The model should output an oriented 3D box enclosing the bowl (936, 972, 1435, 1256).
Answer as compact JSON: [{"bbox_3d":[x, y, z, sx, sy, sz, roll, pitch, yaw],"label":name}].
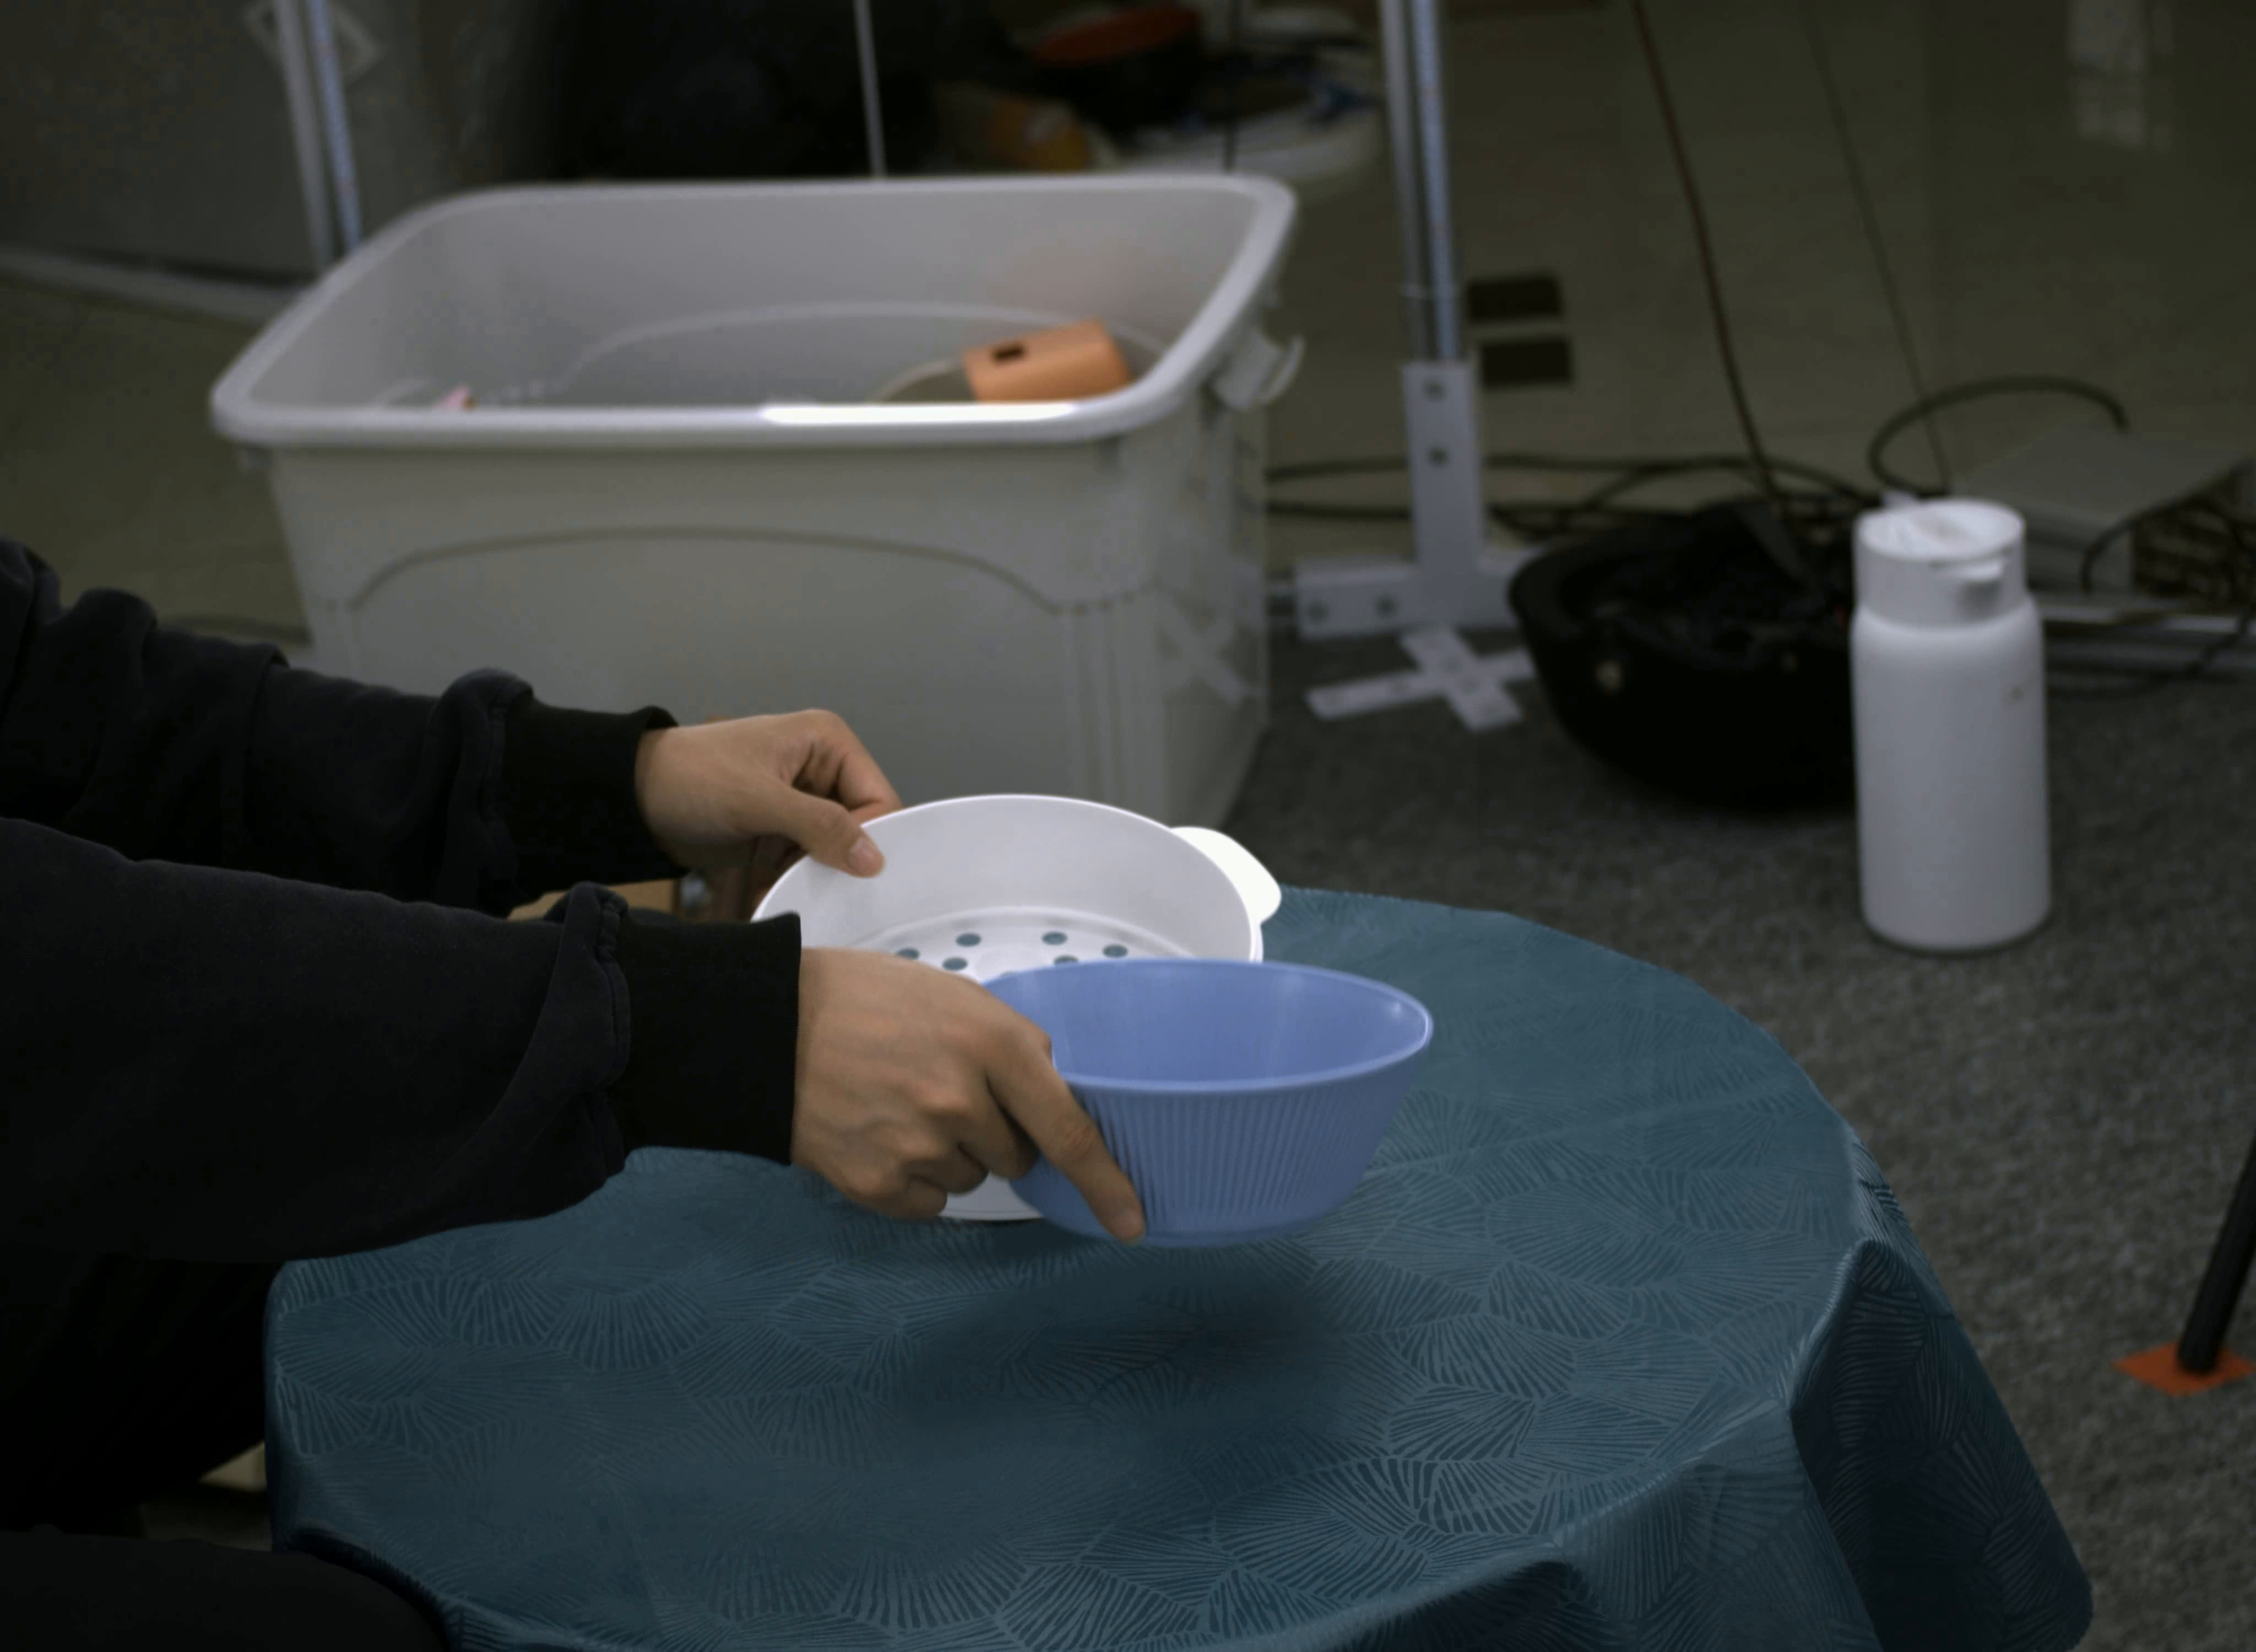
[{"bbox_3d":[0.020,0.104,2.001,0.176,0.071,0.174,1,13,0],"label":"bowl"}]

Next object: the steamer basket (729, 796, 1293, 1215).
[{"bbox_3d":[-0.043,0.070,2.196,0.229,0.070,0.199,-18,39,-25],"label":"steamer basket"}]
